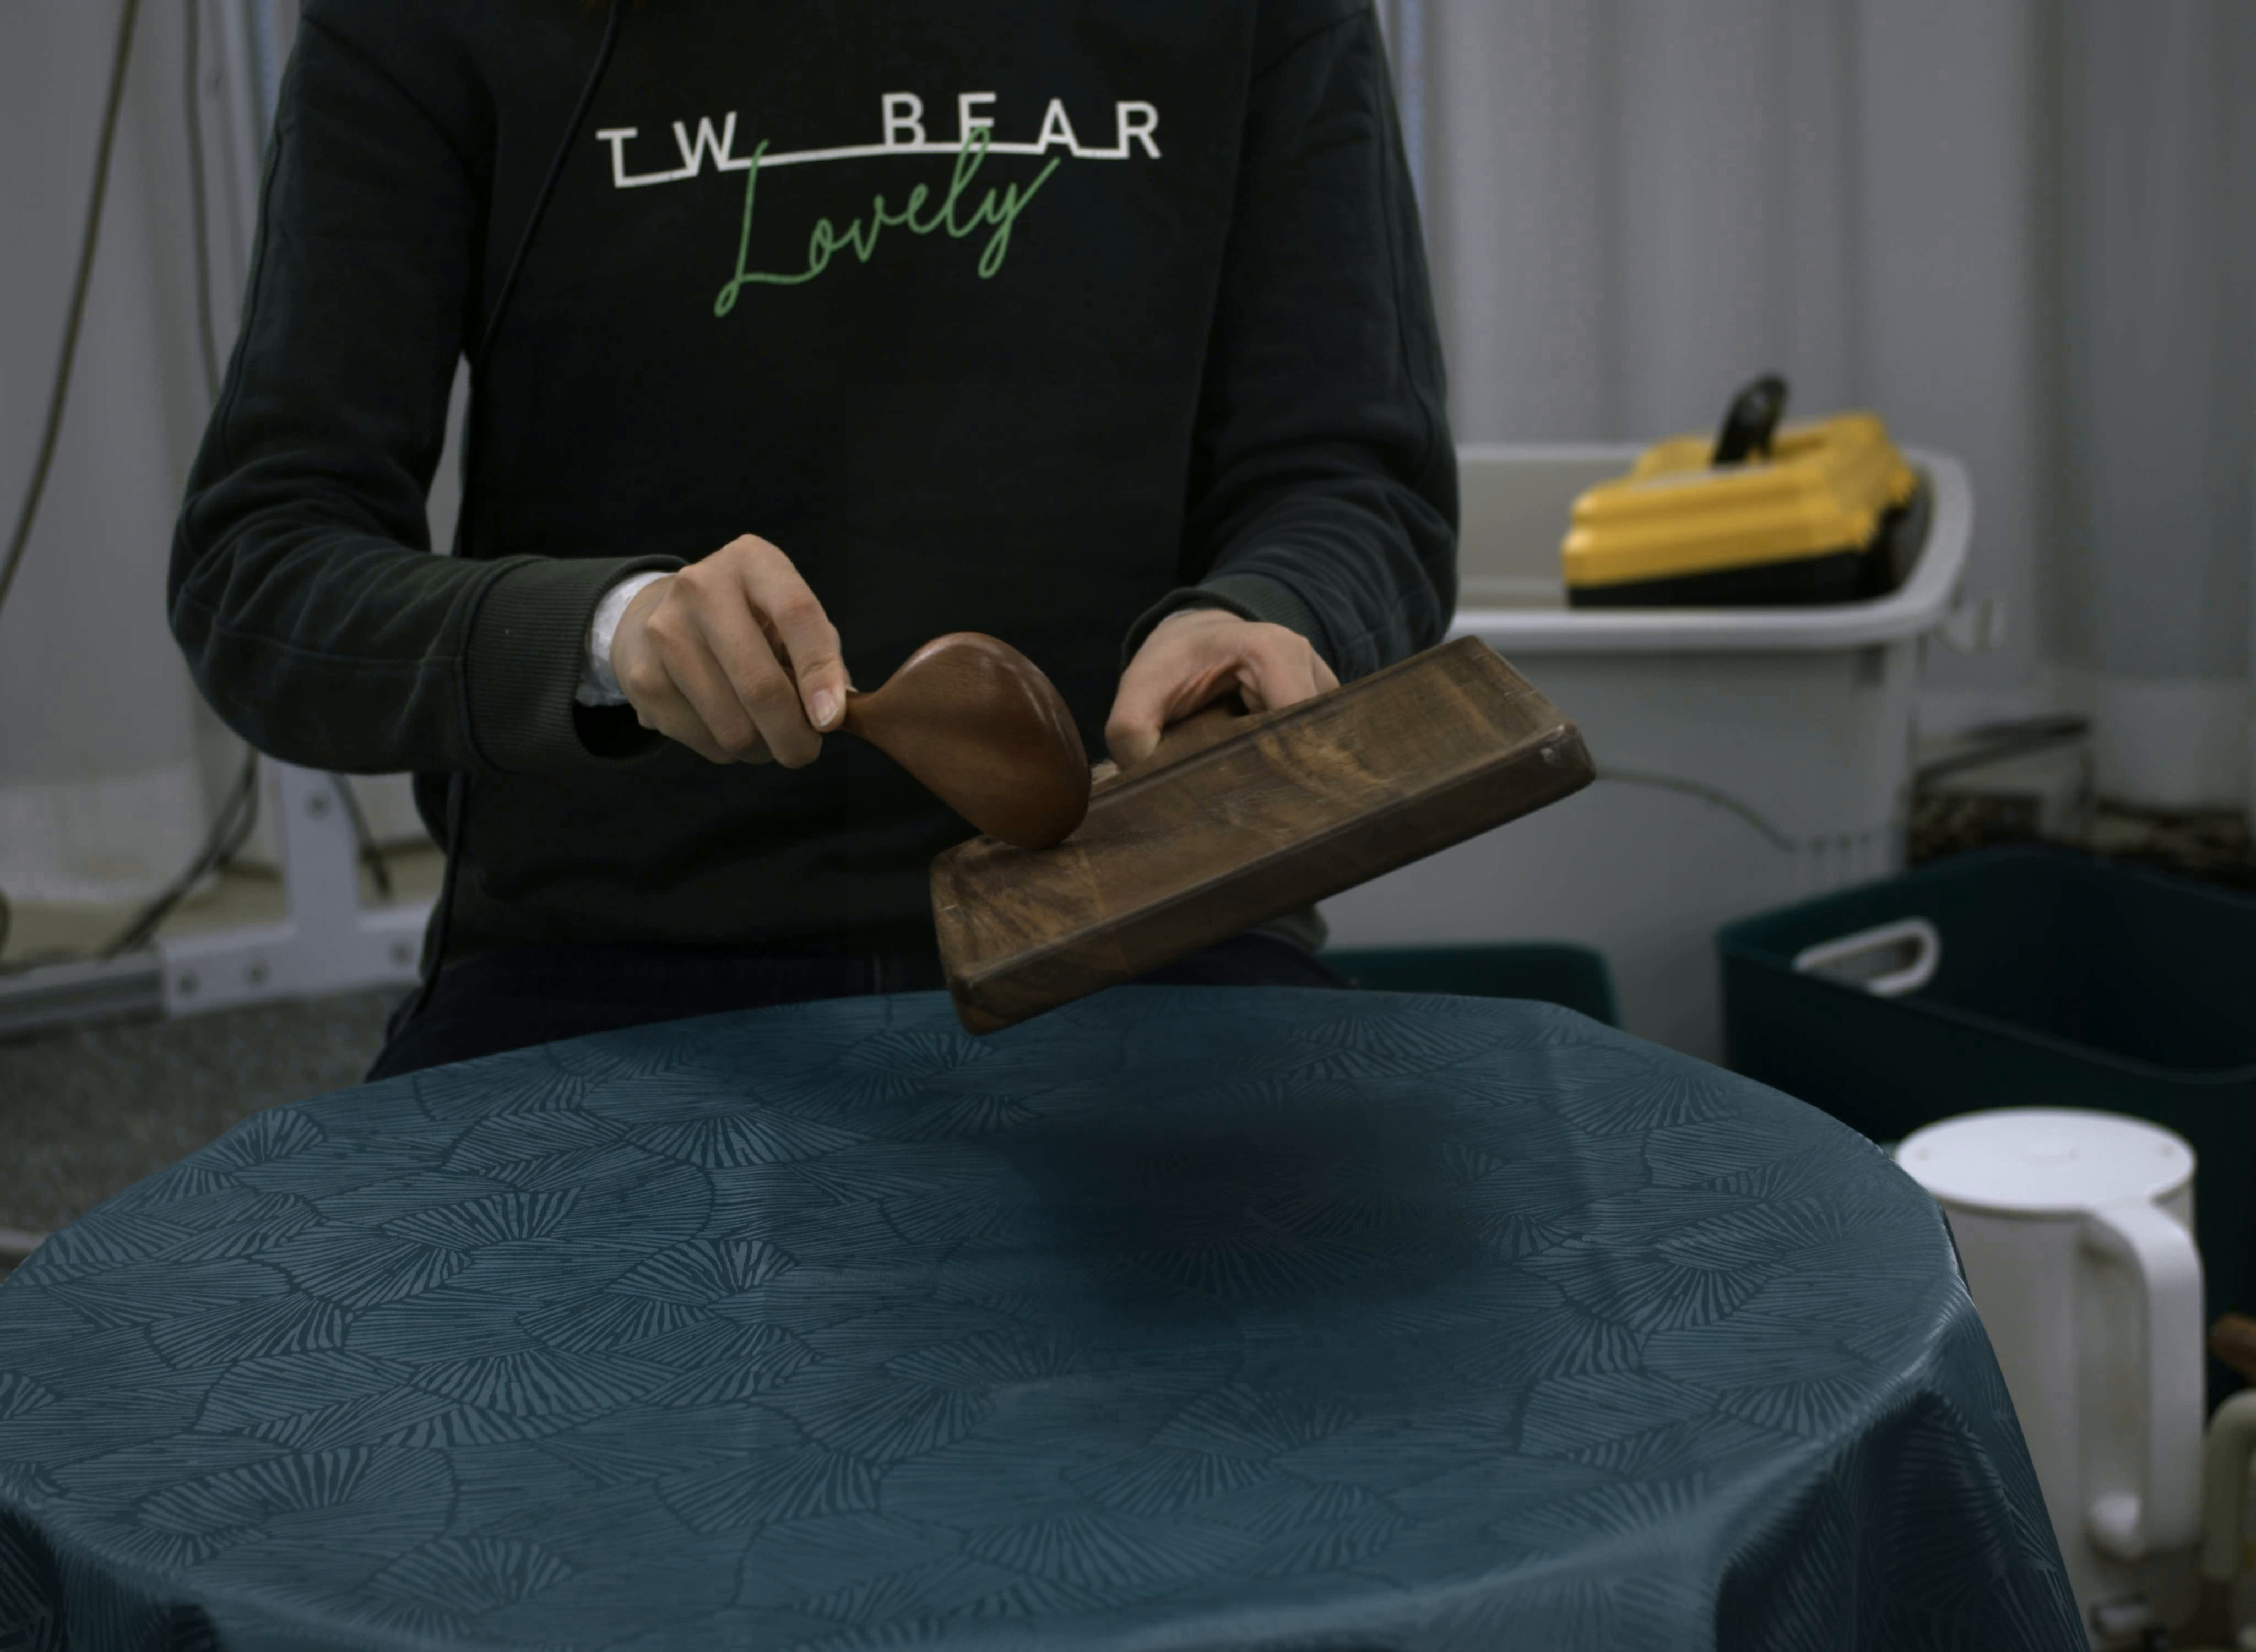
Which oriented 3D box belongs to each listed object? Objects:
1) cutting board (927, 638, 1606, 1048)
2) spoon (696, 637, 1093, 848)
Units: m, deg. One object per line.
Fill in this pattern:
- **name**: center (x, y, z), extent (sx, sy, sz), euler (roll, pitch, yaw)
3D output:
- **cutting board**: center (0.033, -0.006, 1.717), extent (0.200, 0.023, 0.353), euler (-23, 8, 0)
- **spoon**: center (-0.081, -0.033, 1.785), extent (0.017, 0.075, 0.217), euler (-30, 24, -28)
